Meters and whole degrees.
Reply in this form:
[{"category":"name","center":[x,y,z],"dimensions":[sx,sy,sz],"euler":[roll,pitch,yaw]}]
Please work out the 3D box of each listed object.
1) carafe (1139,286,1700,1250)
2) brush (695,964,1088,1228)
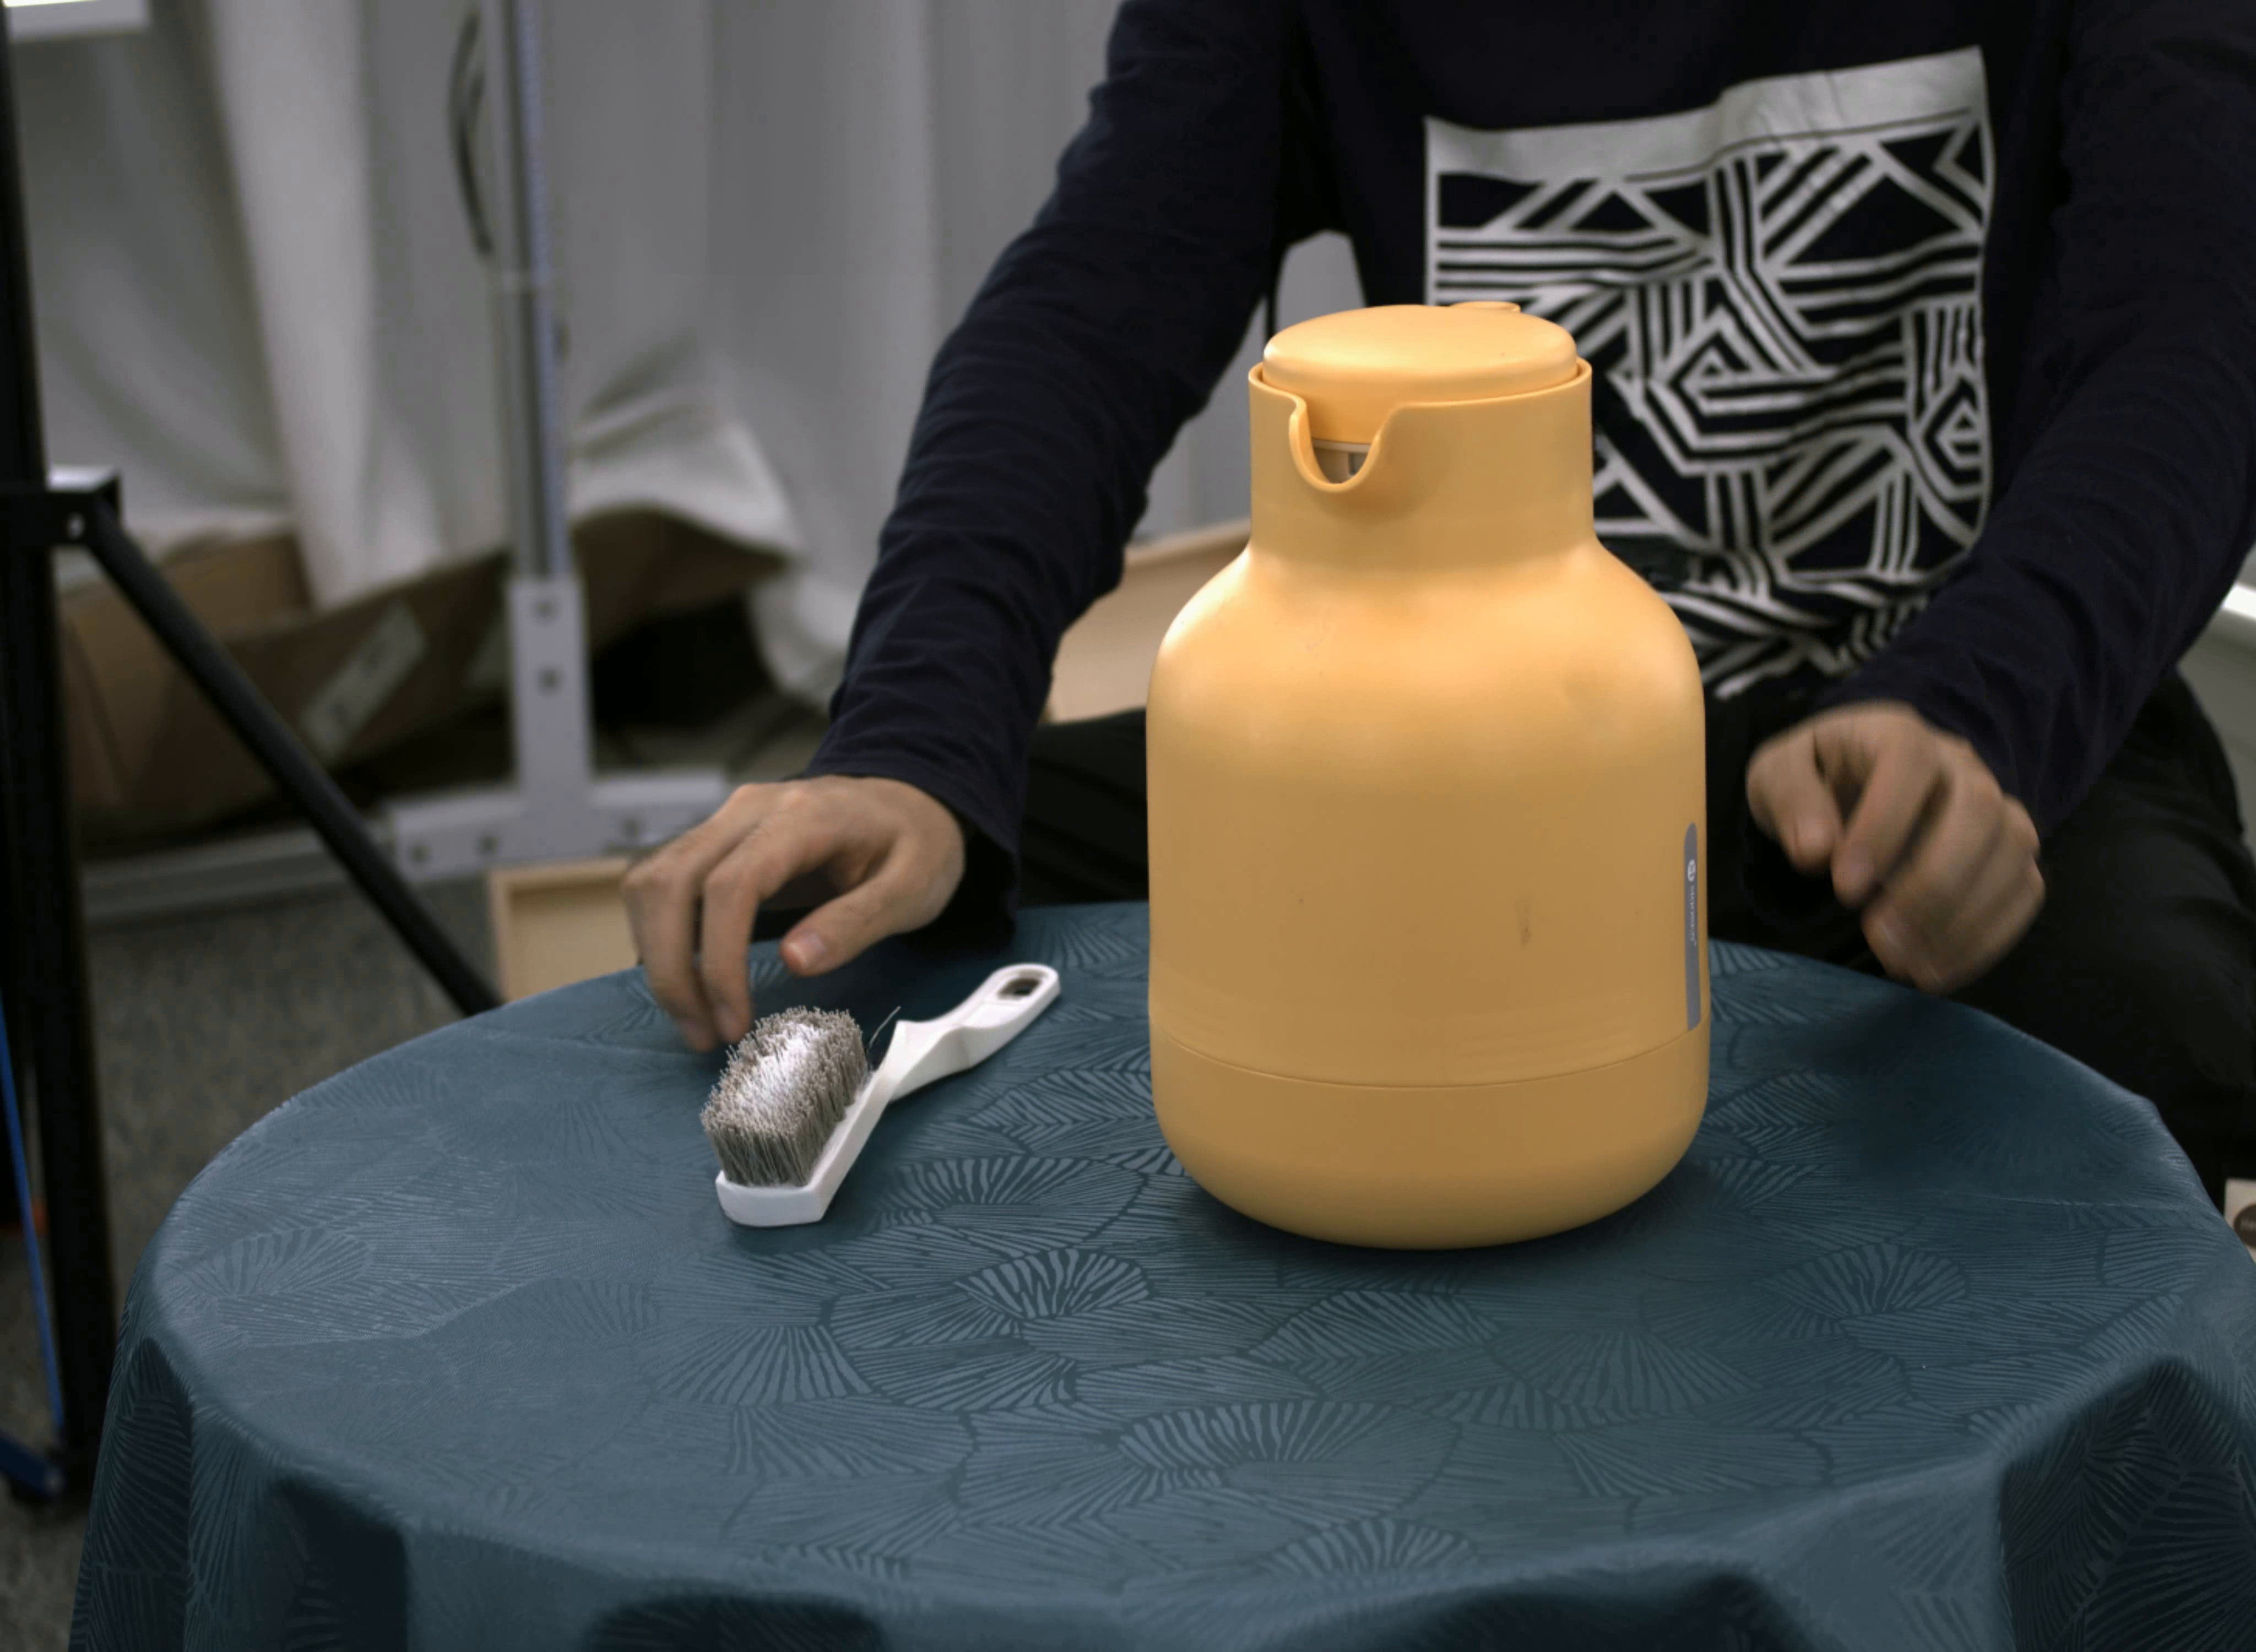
[{"category":"carafe","center":[0.092,-0.024,1.536],"dimensions":[0.166,0.260,0.199],"euler":[8,19,23]},{"category":"brush","center":[-0.068,0.063,1.639],"dimensions":[0.035,0.050,0.240],"euler":[-1,16,23]}]
